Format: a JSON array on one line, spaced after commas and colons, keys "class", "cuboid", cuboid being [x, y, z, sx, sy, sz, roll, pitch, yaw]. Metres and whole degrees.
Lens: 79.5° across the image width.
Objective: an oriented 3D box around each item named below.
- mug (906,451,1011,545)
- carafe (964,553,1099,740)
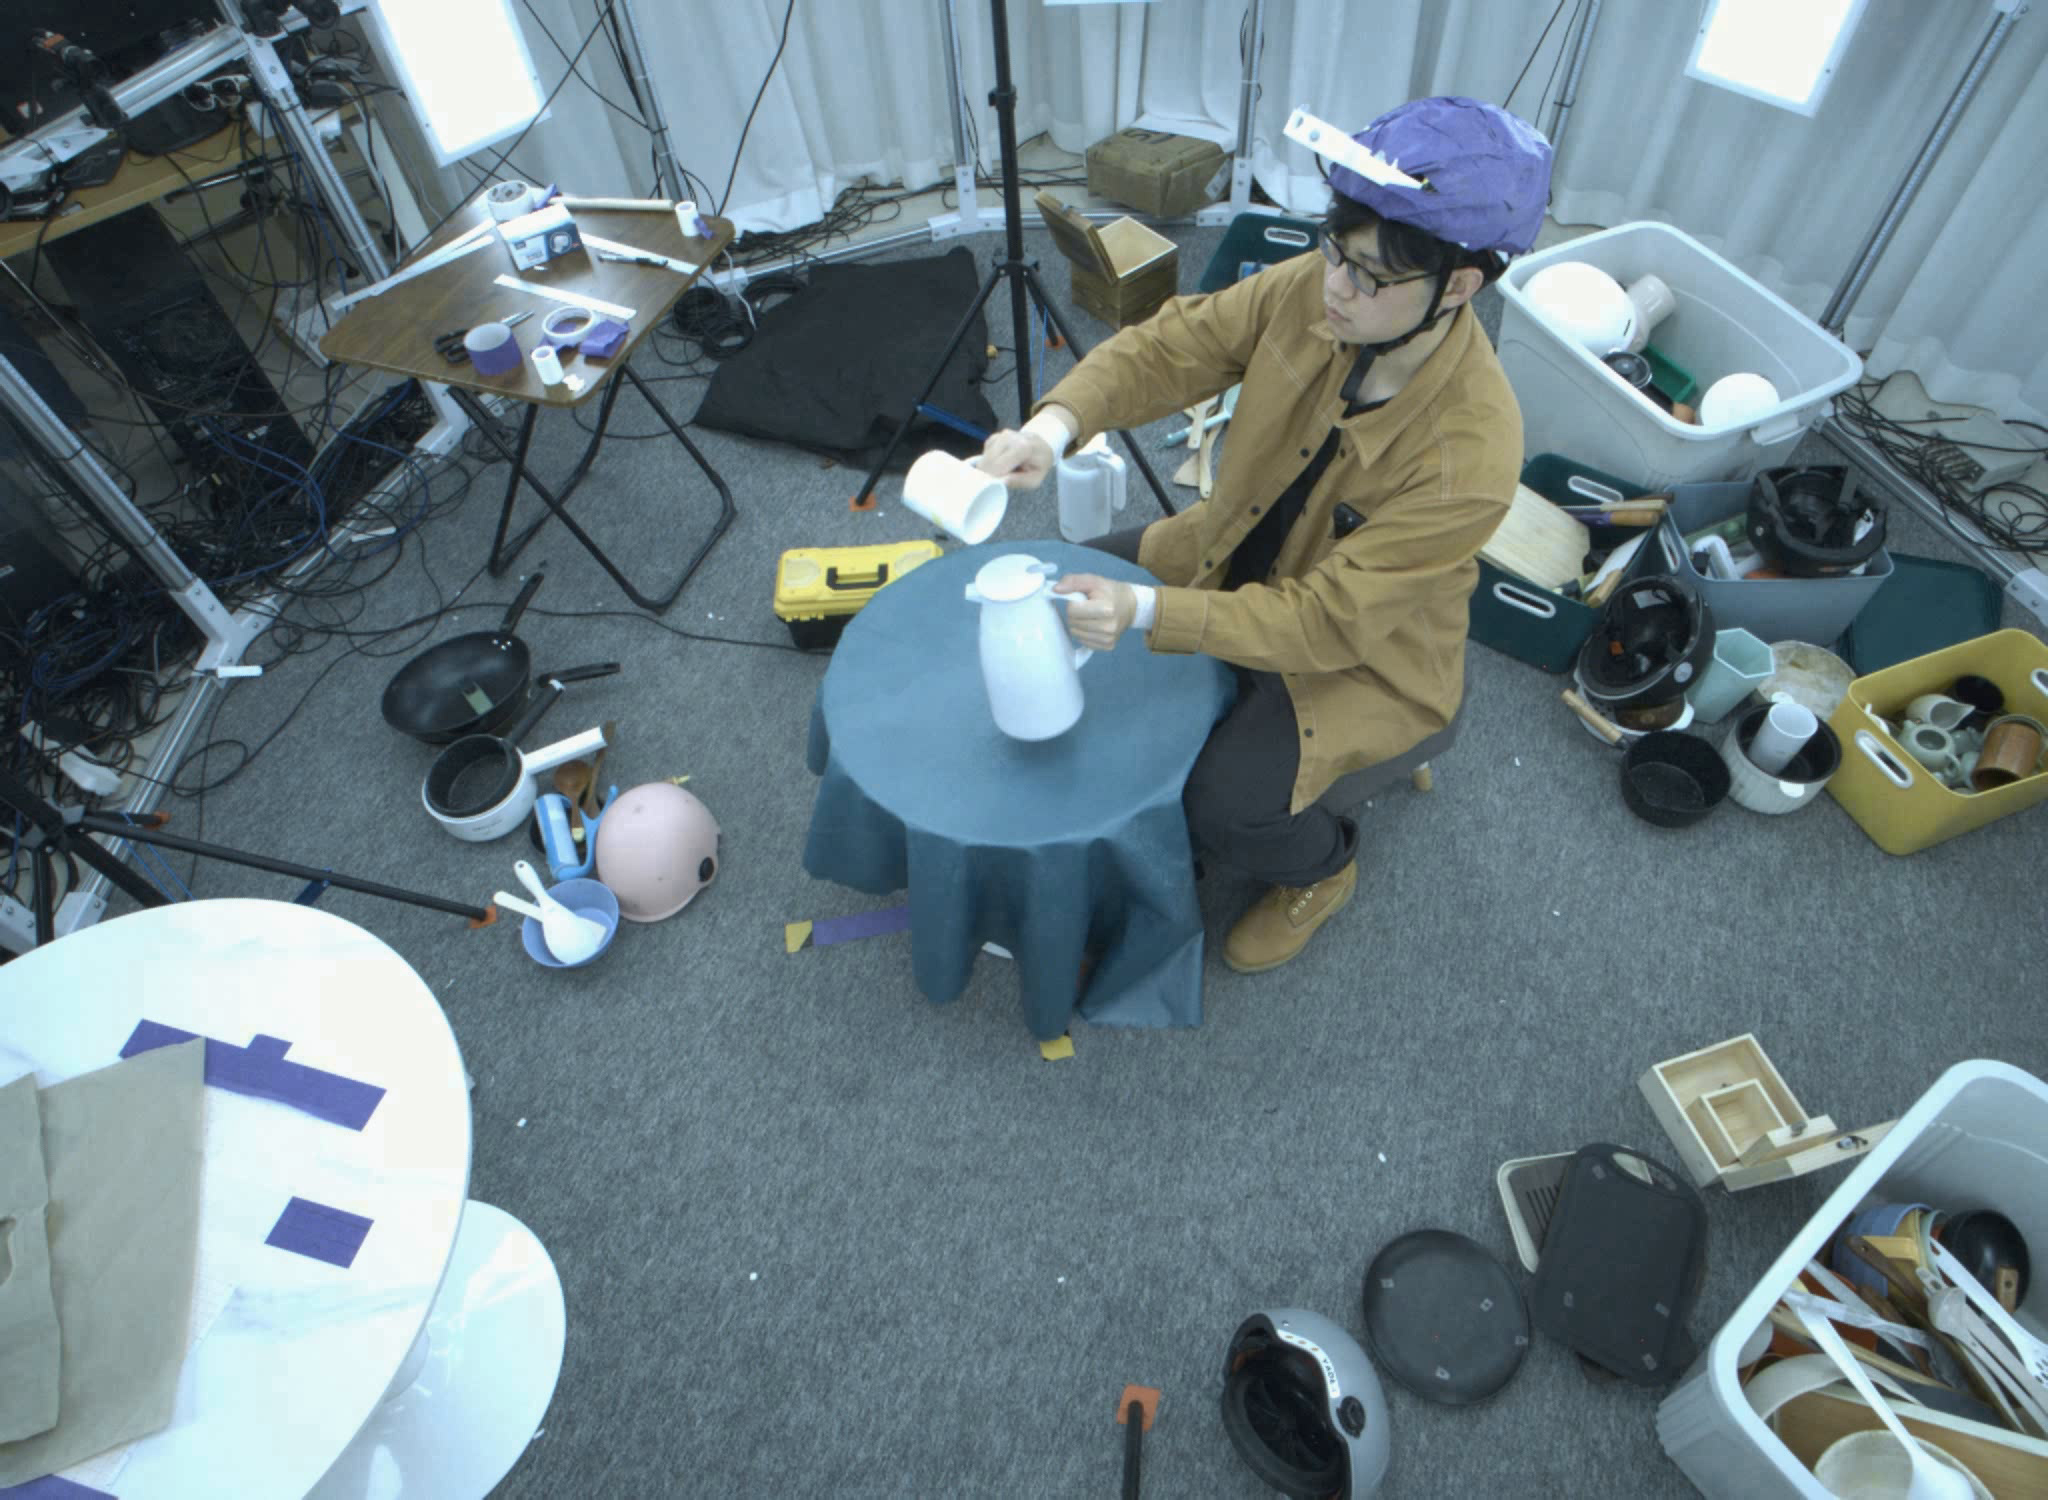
[{"class": "mug", "cuboid": [-0.076, -0.327, 1.521, 0.100, 0.086, 0.119, 35, 67, 19]}, {"class": "carafe", "cuboid": [0.018, -0.147, 1.647, 0.167, 0.252, 0.131, -6, 47, 6]}]
